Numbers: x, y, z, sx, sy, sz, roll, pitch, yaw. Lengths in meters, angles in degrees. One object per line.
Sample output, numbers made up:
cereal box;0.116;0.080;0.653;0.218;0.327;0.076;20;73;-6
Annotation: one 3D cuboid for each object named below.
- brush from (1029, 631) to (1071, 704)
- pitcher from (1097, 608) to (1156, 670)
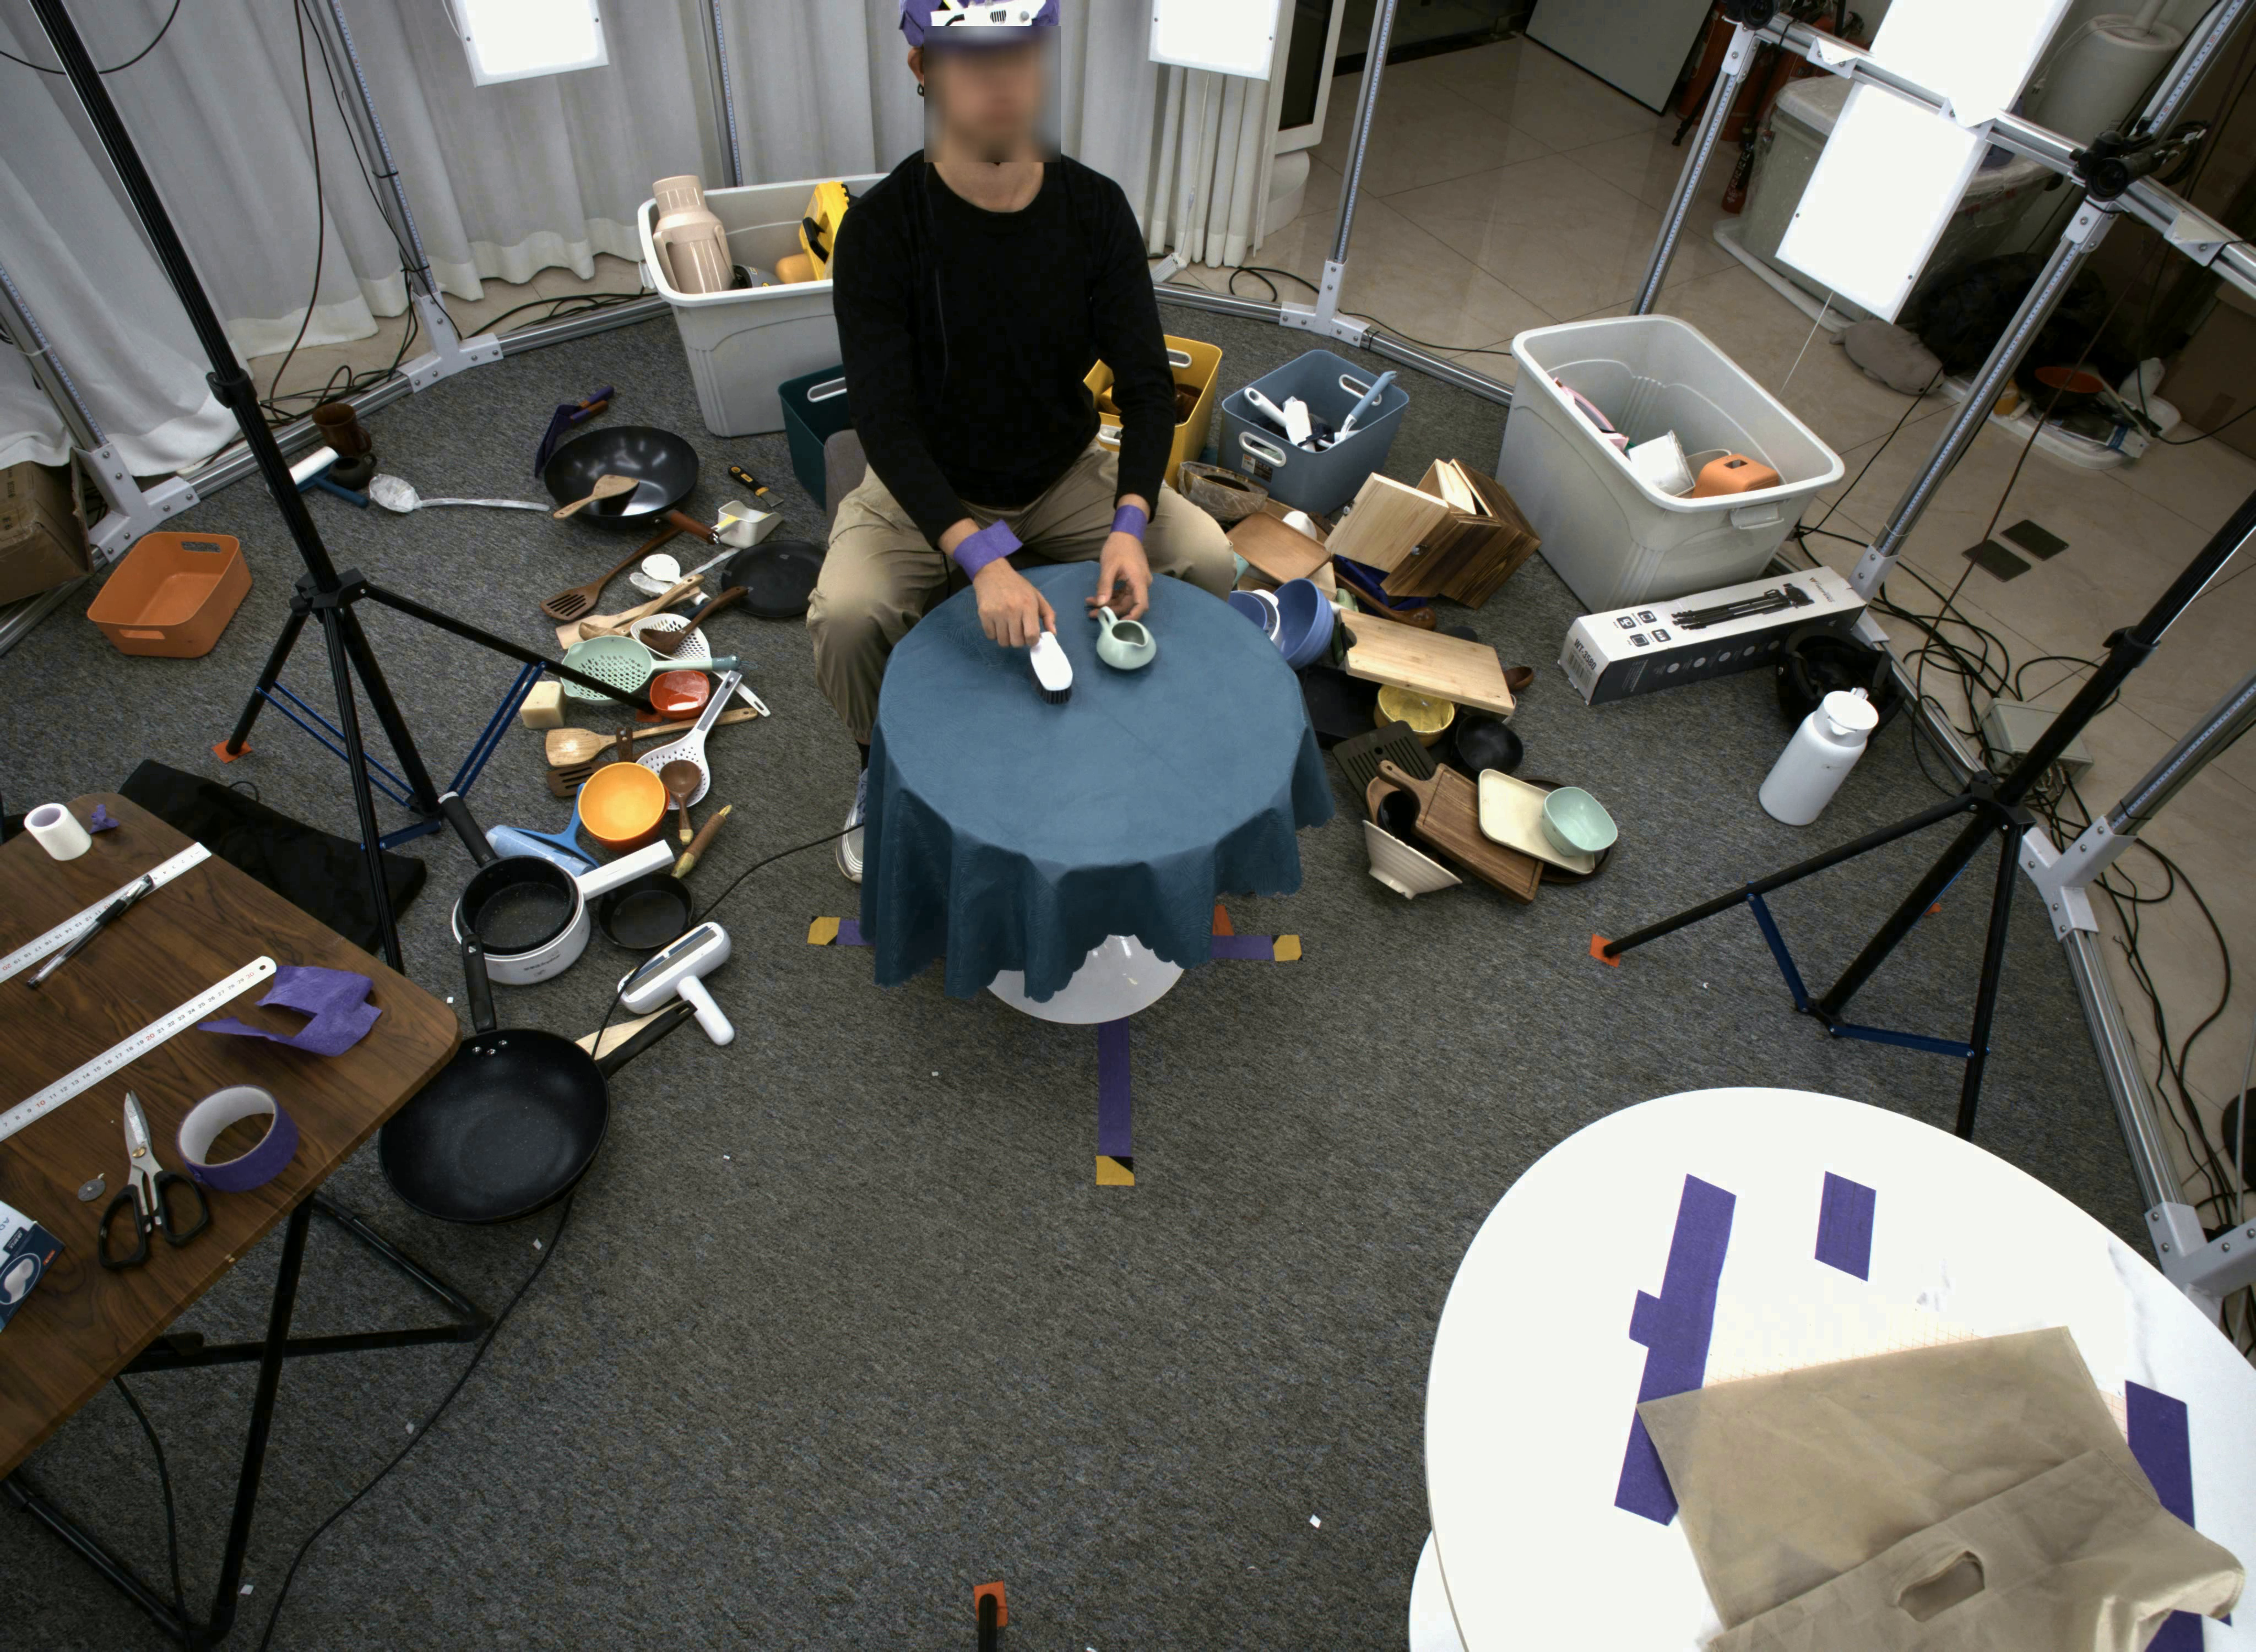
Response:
brush;-0.109;-0.231;1.812;0.050;0.071;0.101;-9;51;-14
pitcher;-0.009;-0.271;1.866;0.086;0.059;0.110;-30;55;-27
